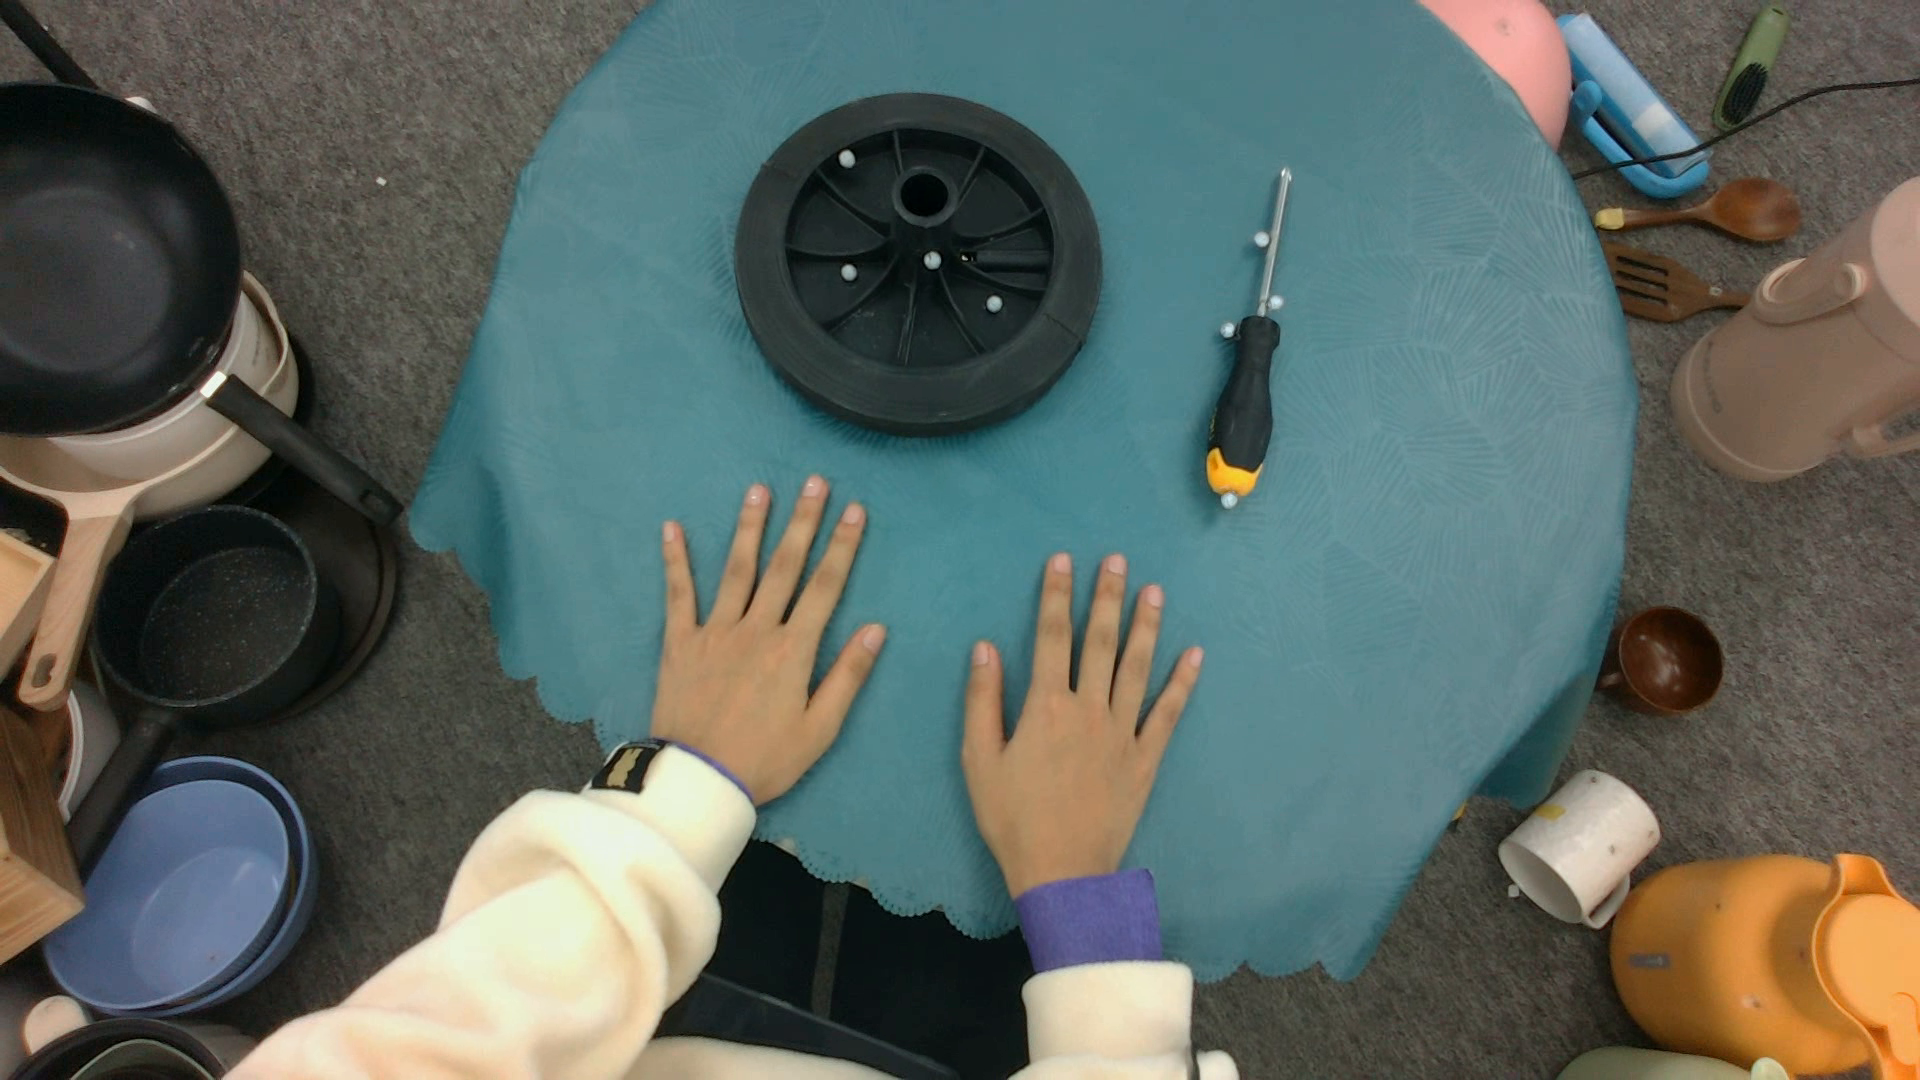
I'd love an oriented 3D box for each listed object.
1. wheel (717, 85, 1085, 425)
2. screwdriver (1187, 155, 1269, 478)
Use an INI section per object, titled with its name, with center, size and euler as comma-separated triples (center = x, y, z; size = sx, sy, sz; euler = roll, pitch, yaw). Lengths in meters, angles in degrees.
[wheel]
center = -0.027, -0.156, 0.688
size = 0.190, 0.079, 0.187
euler = -23, 76, -13
[screwdriver]
center = 0.143, -0.123, 0.718
size = 0.031, 0.031, 0.197
euler = 11, 70, -1
